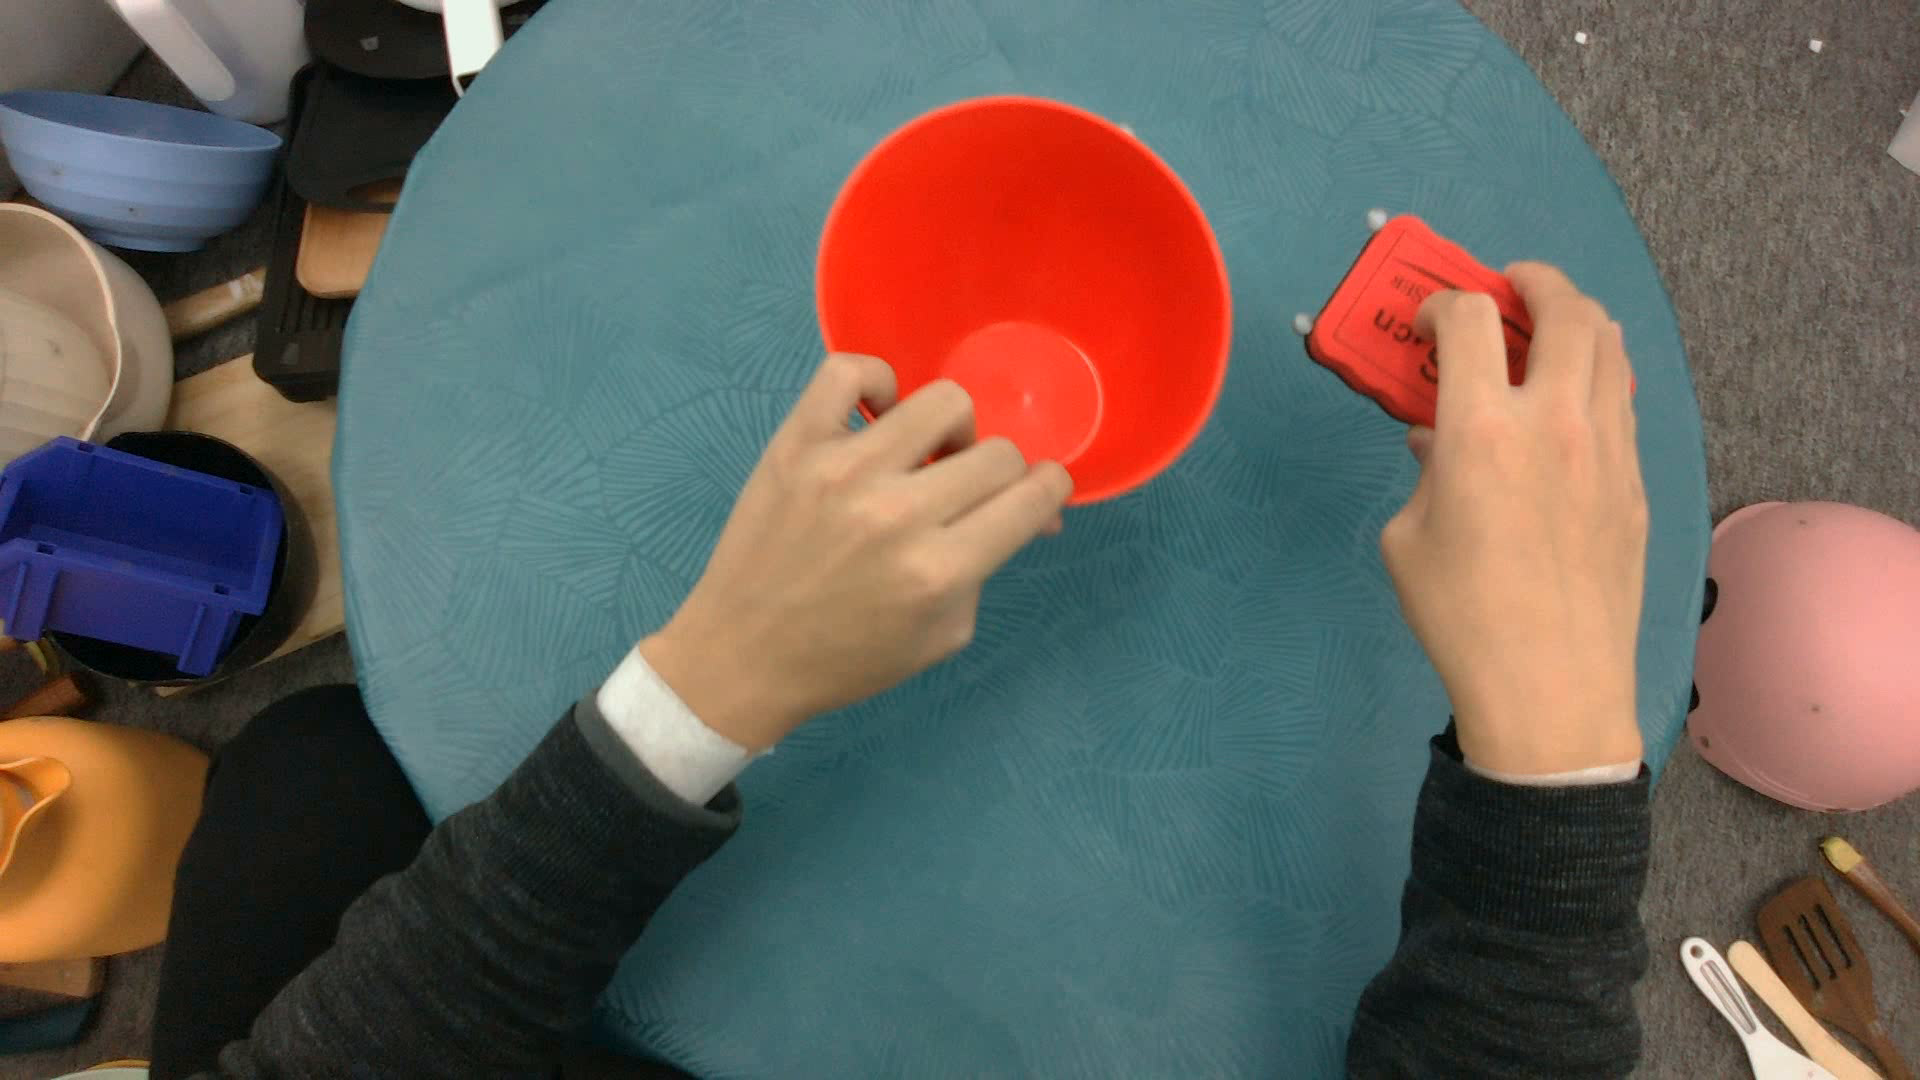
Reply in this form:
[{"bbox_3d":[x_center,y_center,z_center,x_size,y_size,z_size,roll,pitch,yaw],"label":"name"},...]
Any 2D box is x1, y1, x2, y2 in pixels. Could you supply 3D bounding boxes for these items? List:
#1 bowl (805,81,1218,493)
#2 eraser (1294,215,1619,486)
[{"bbox_3d":[0.017,-0.080,0.515,0.148,0.104,0.148,2,75,-6],"label":"bowl"},{"bbox_3d":[0.183,-0.070,0.511,0.108,0.023,0.059,33,88,0],"label":"eraser"}]
